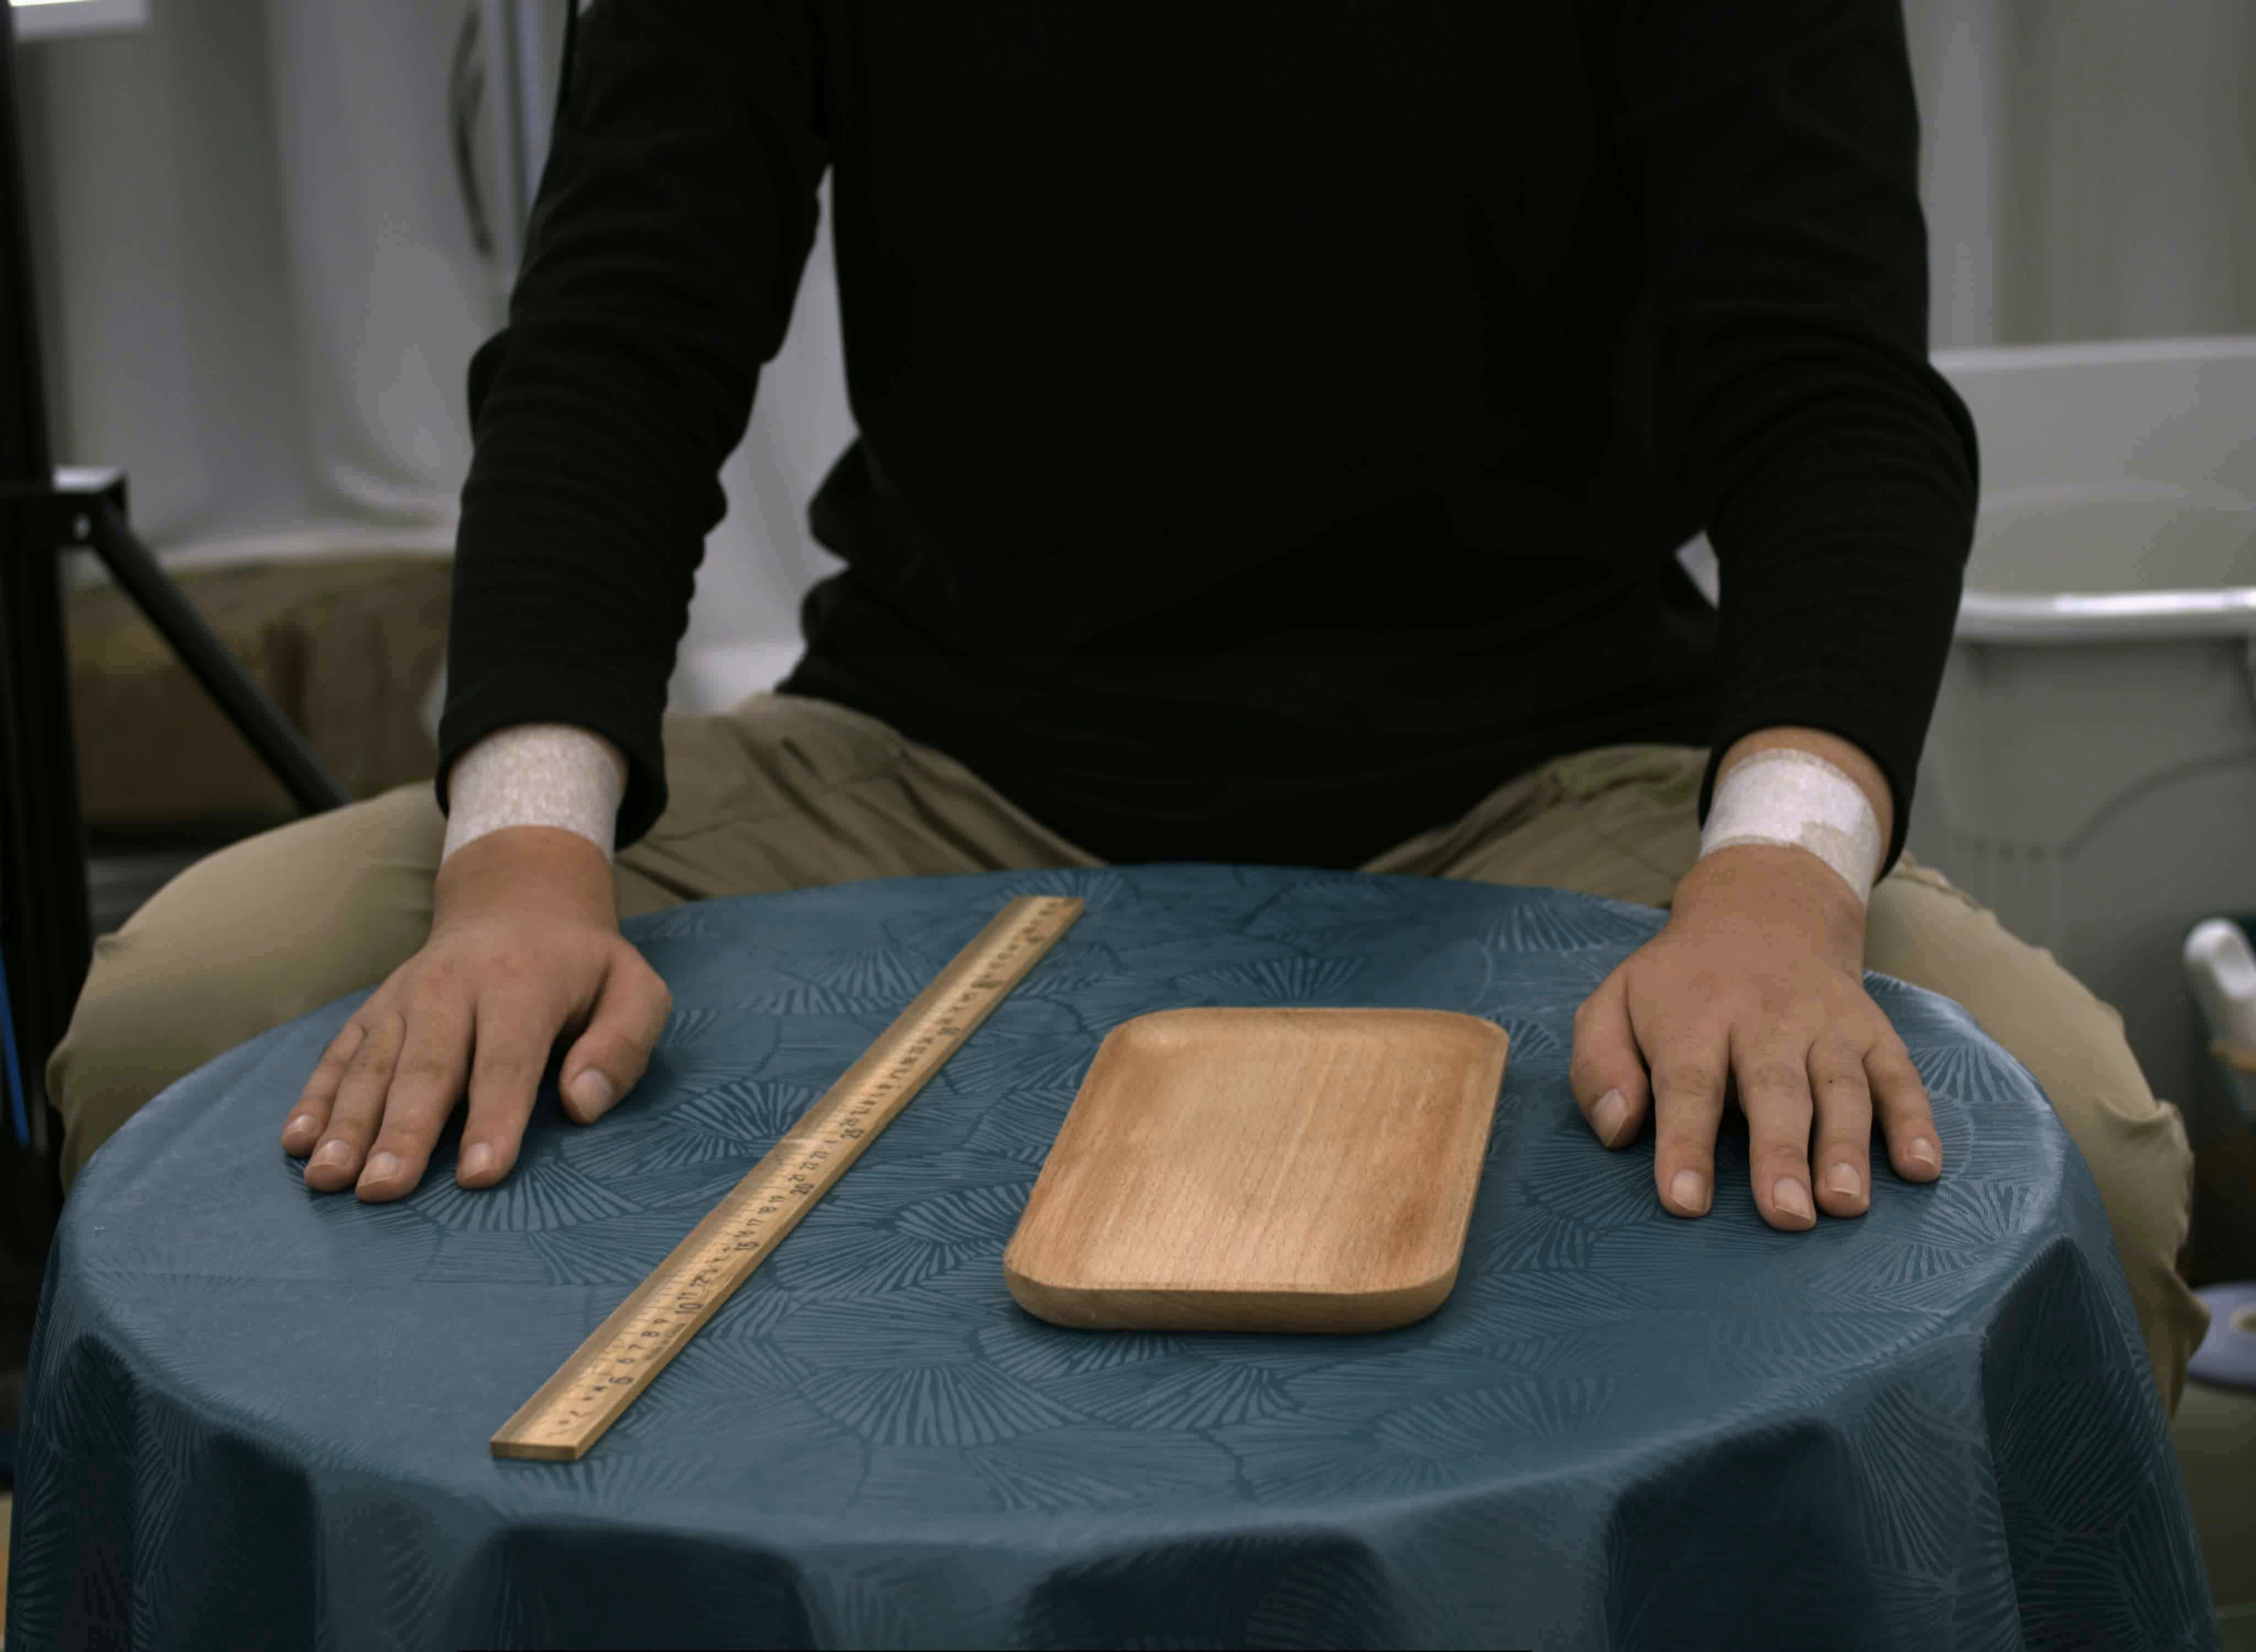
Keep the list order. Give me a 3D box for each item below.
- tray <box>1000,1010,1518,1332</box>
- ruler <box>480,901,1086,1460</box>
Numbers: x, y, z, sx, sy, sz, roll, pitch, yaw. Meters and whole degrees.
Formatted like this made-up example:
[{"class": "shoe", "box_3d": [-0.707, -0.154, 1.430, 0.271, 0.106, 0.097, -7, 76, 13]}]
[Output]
[{"class": "tray", "box_3d": [0.043, 0.098, 1.555, 0.131, 0.023, 0.249, 2, 15, 10]}, {"class": "ruler", "box_3d": [-0.090, 0.095, 1.609, 0.027, 0.006, 0.496, 4, 17, 15]}]
